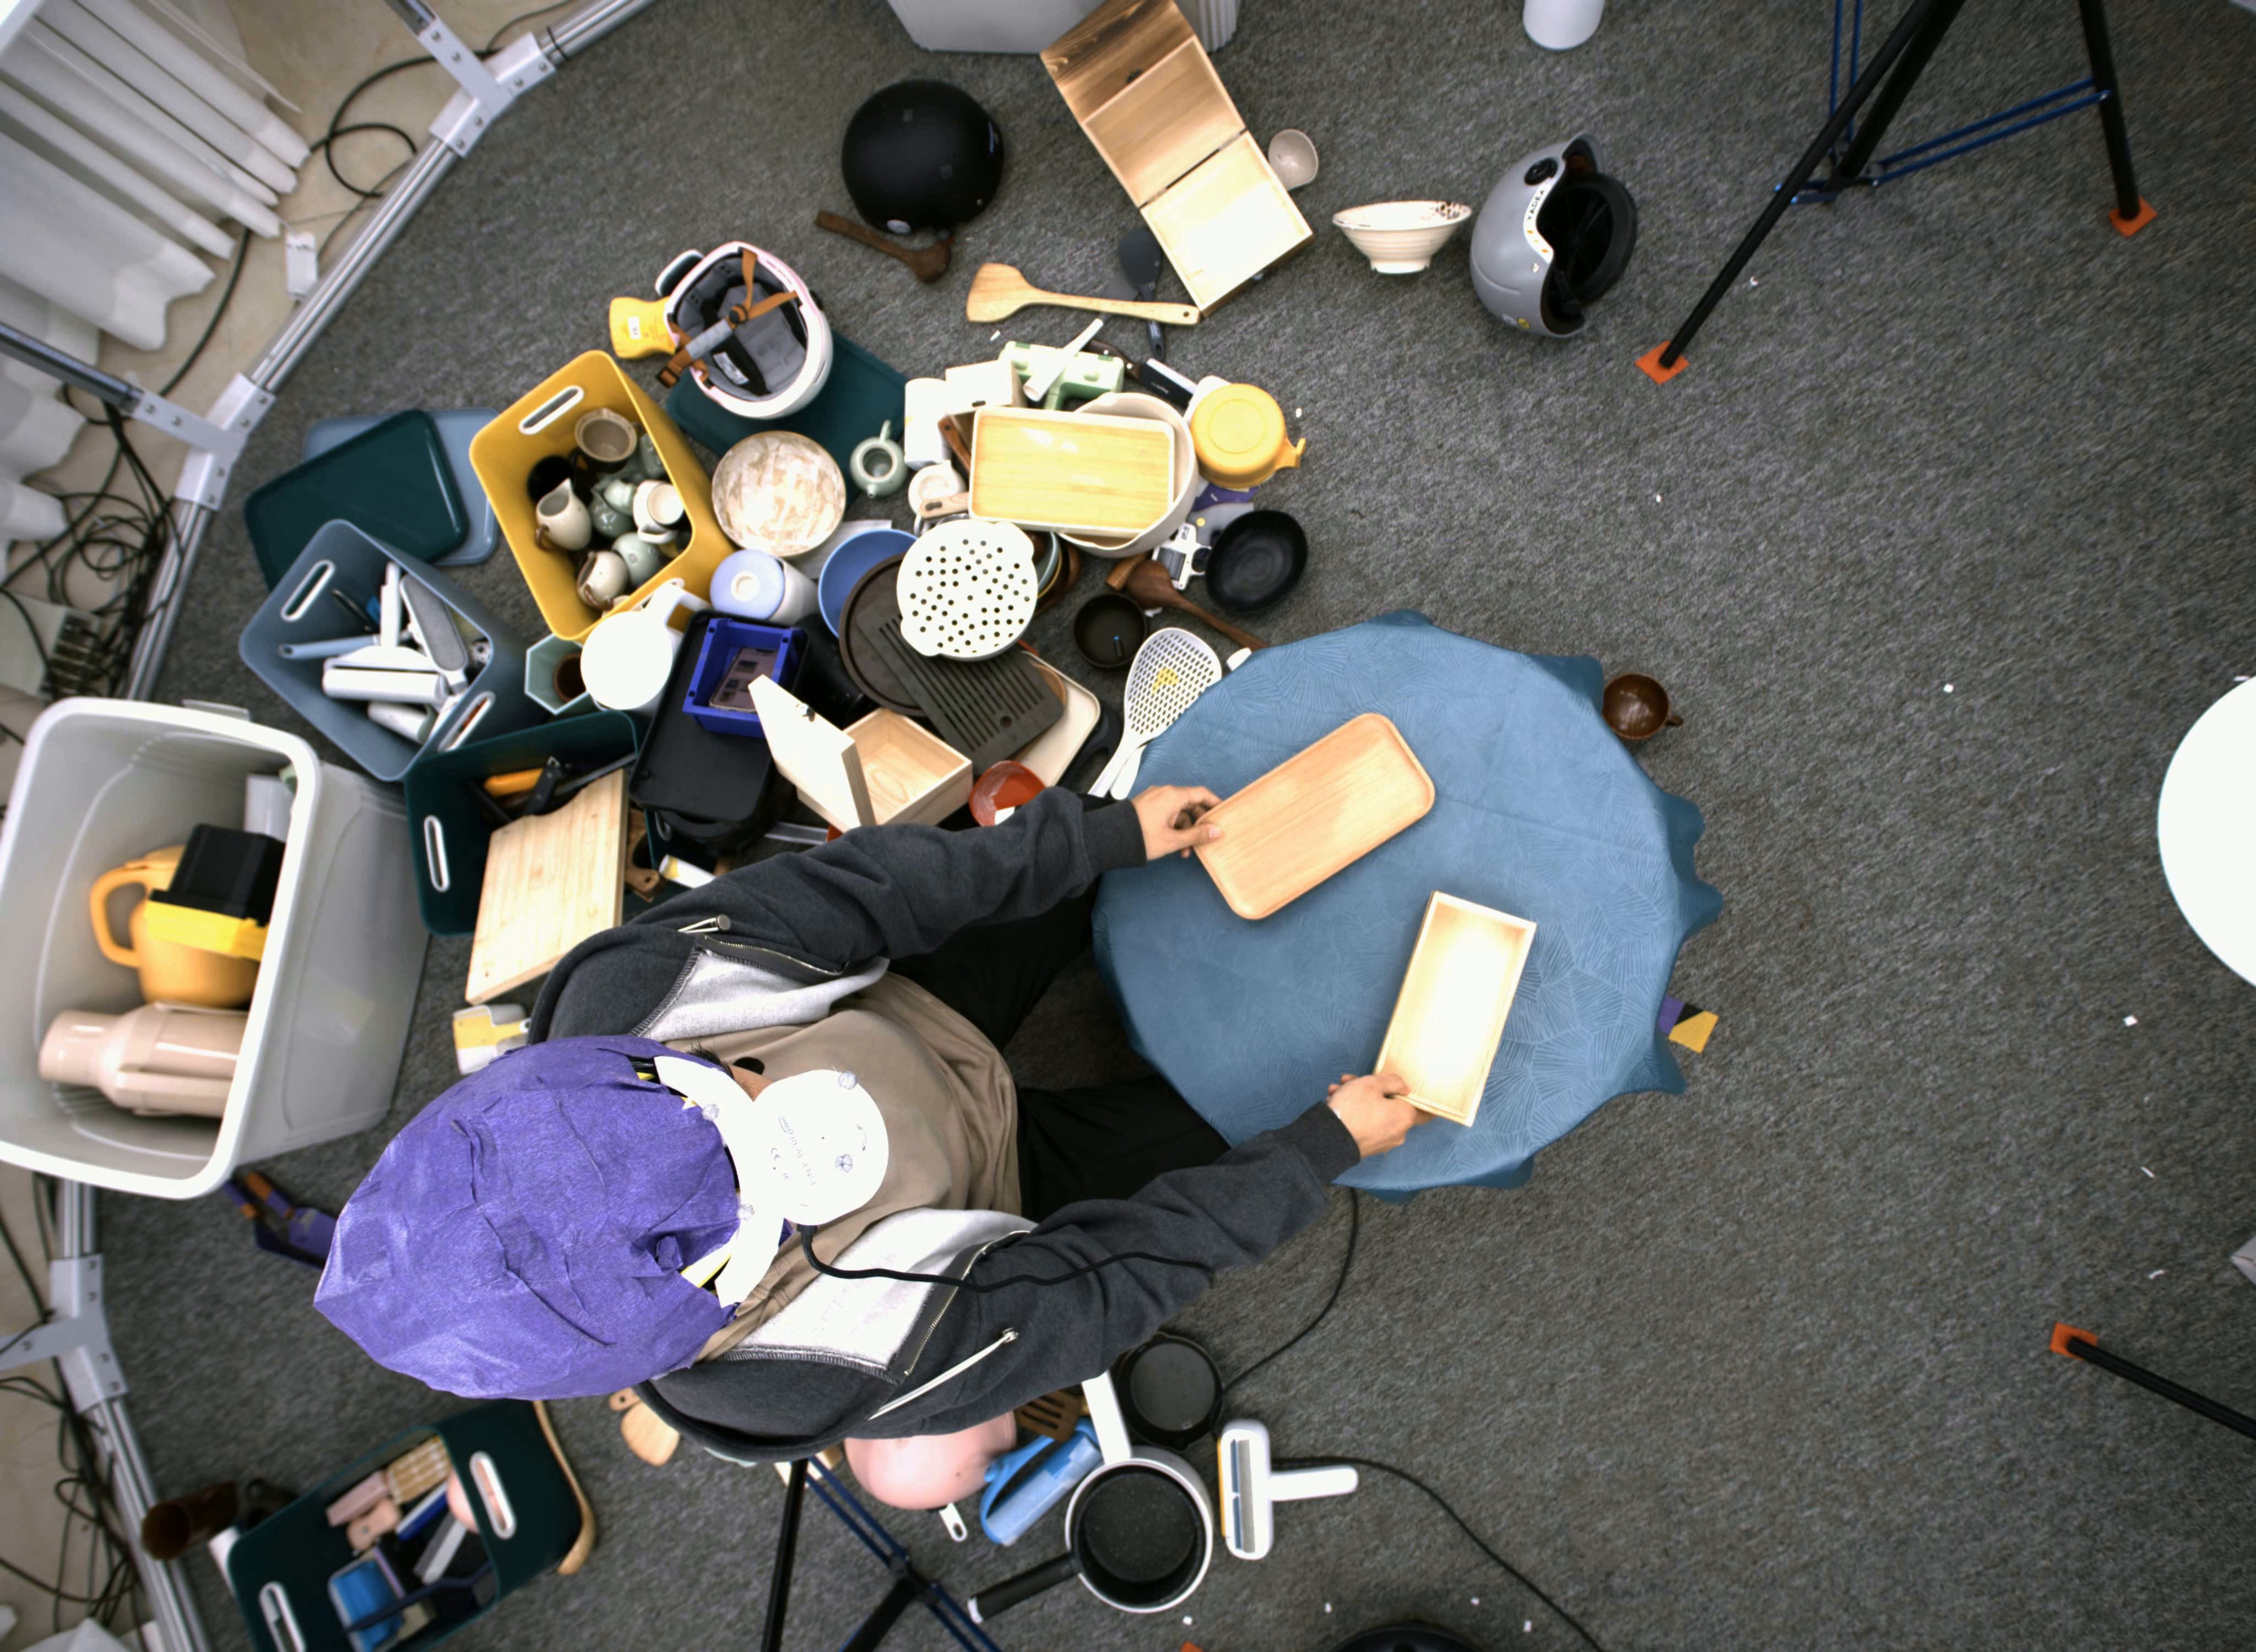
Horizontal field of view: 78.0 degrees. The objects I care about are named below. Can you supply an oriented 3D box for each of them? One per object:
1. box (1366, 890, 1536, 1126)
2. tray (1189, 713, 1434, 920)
[{"bbox_3d":[0.326,0.182,1.403,0.107,0.080,0.211,19,90,11],"label":"box"},{"bbox_3d":[0.193,-0.011,1.455,0.251,0.023,0.130,-32,81,2],"label":"tray"}]
